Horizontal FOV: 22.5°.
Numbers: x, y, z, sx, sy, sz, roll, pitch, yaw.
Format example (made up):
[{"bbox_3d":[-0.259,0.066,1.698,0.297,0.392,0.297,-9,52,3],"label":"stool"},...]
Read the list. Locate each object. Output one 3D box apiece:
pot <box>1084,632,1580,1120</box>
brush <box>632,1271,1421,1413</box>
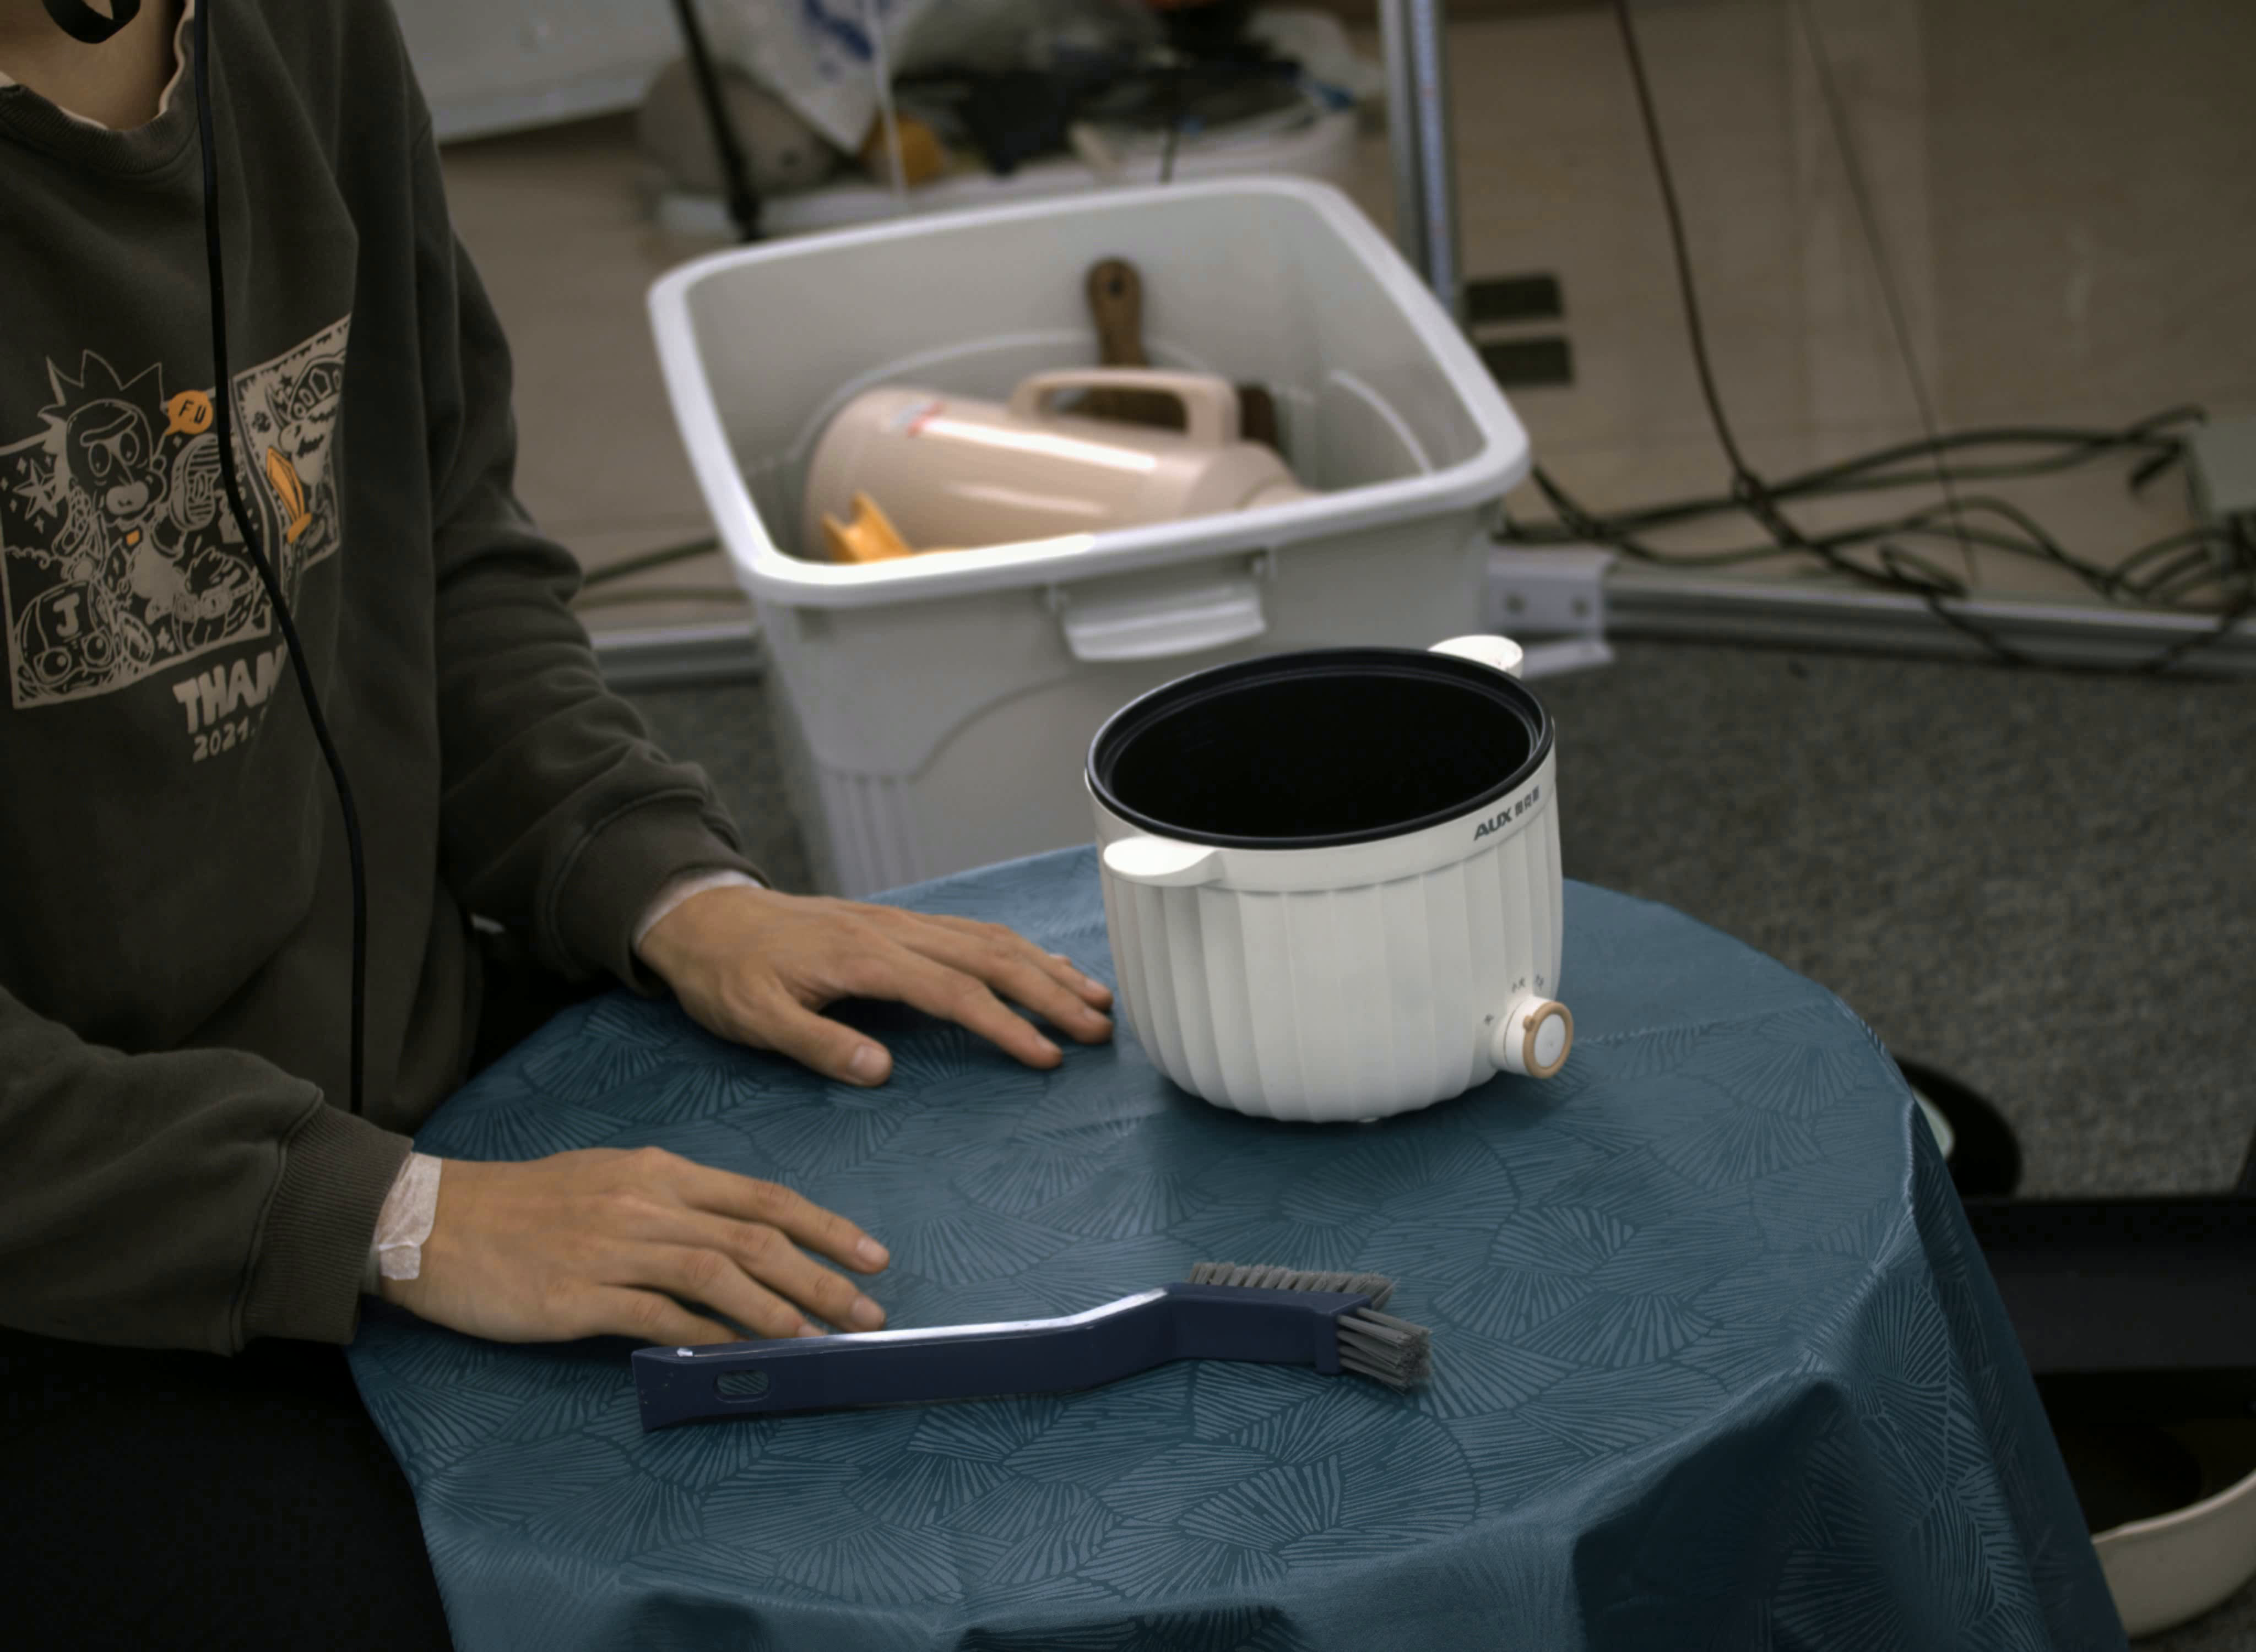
[{"bbox_3d":[0.085,0.026,2.199,0.189,0.145,0.238,11,31,39],"label":"pot"},{"bbox_3d":[-0.038,0.190,2.010,0.272,0.034,0.094,-7,25,-4],"label":"brush"}]
